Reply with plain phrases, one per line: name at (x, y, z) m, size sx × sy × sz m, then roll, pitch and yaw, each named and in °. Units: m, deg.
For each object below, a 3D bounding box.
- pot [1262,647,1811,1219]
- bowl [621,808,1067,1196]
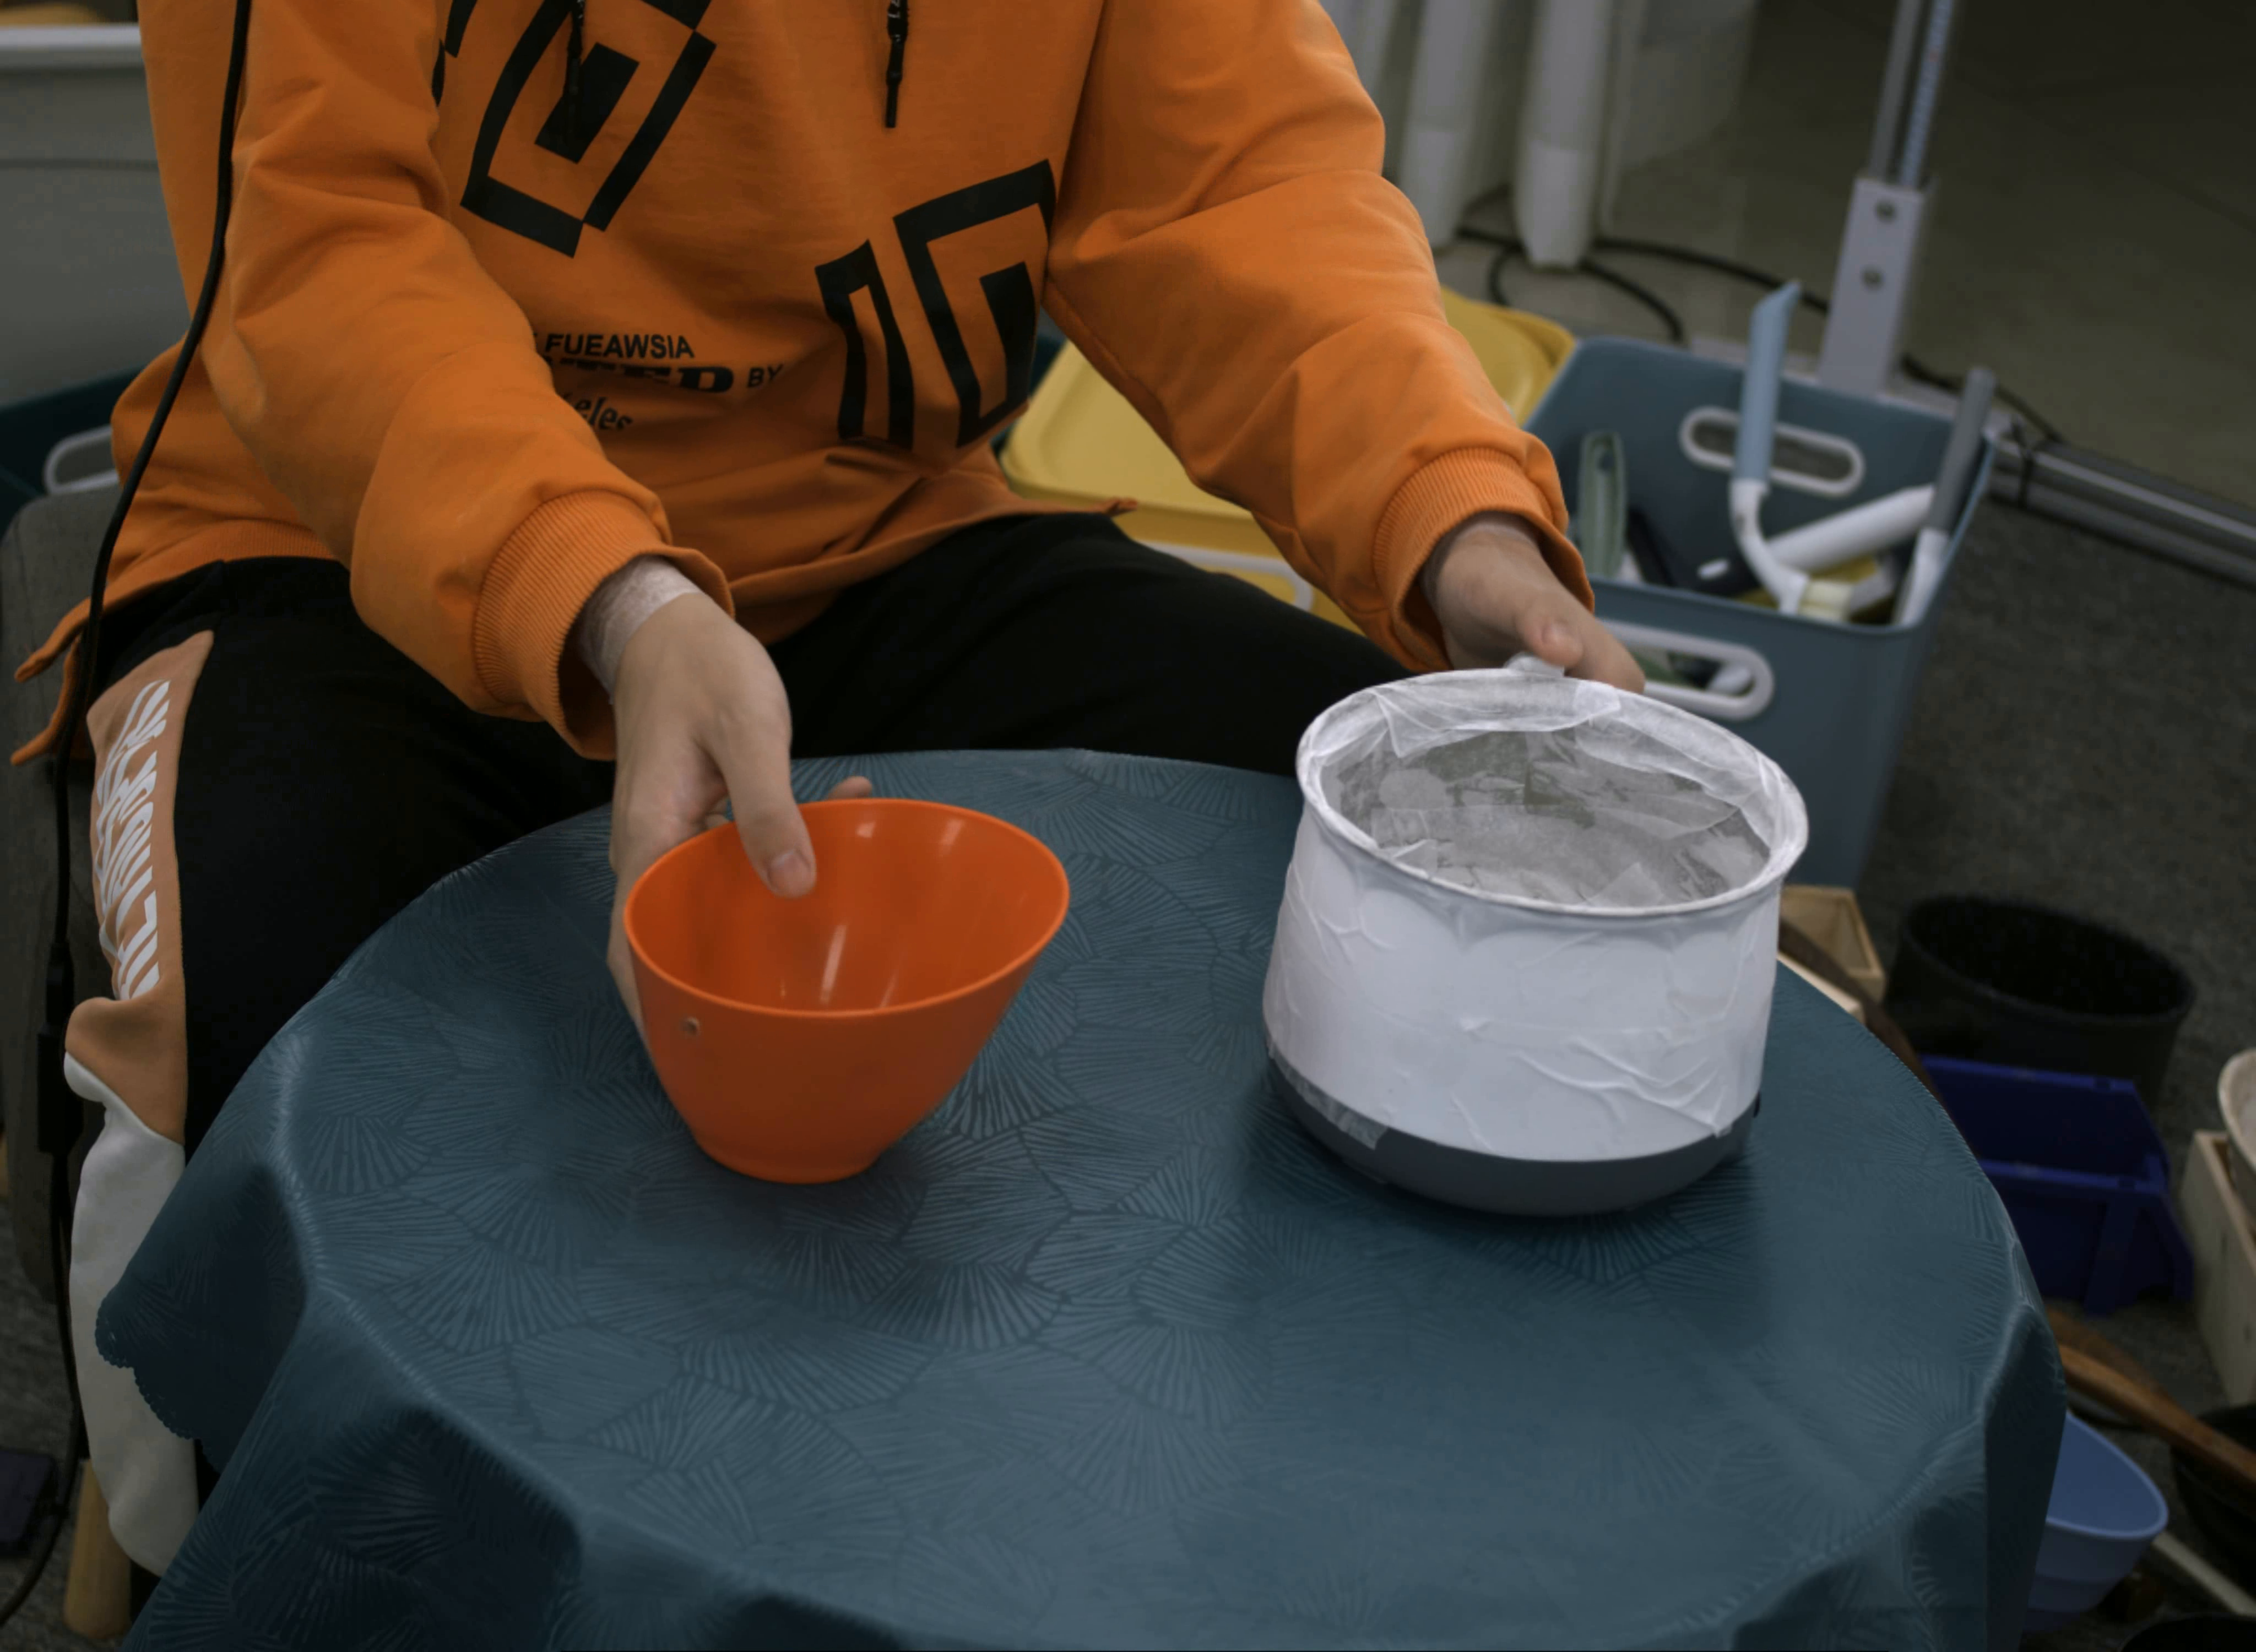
pot at (0.138, 0.030, 1.866) m, size 0.178 × 0.136 × 0.235 m, roll 6°, pitch 27°, yaw -3°
bowl at (-0.099, 0.065, 1.790) m, size 0.147 × 0.104 × 0.149 m, roll 5°, pitch 27°, yaw -3°
